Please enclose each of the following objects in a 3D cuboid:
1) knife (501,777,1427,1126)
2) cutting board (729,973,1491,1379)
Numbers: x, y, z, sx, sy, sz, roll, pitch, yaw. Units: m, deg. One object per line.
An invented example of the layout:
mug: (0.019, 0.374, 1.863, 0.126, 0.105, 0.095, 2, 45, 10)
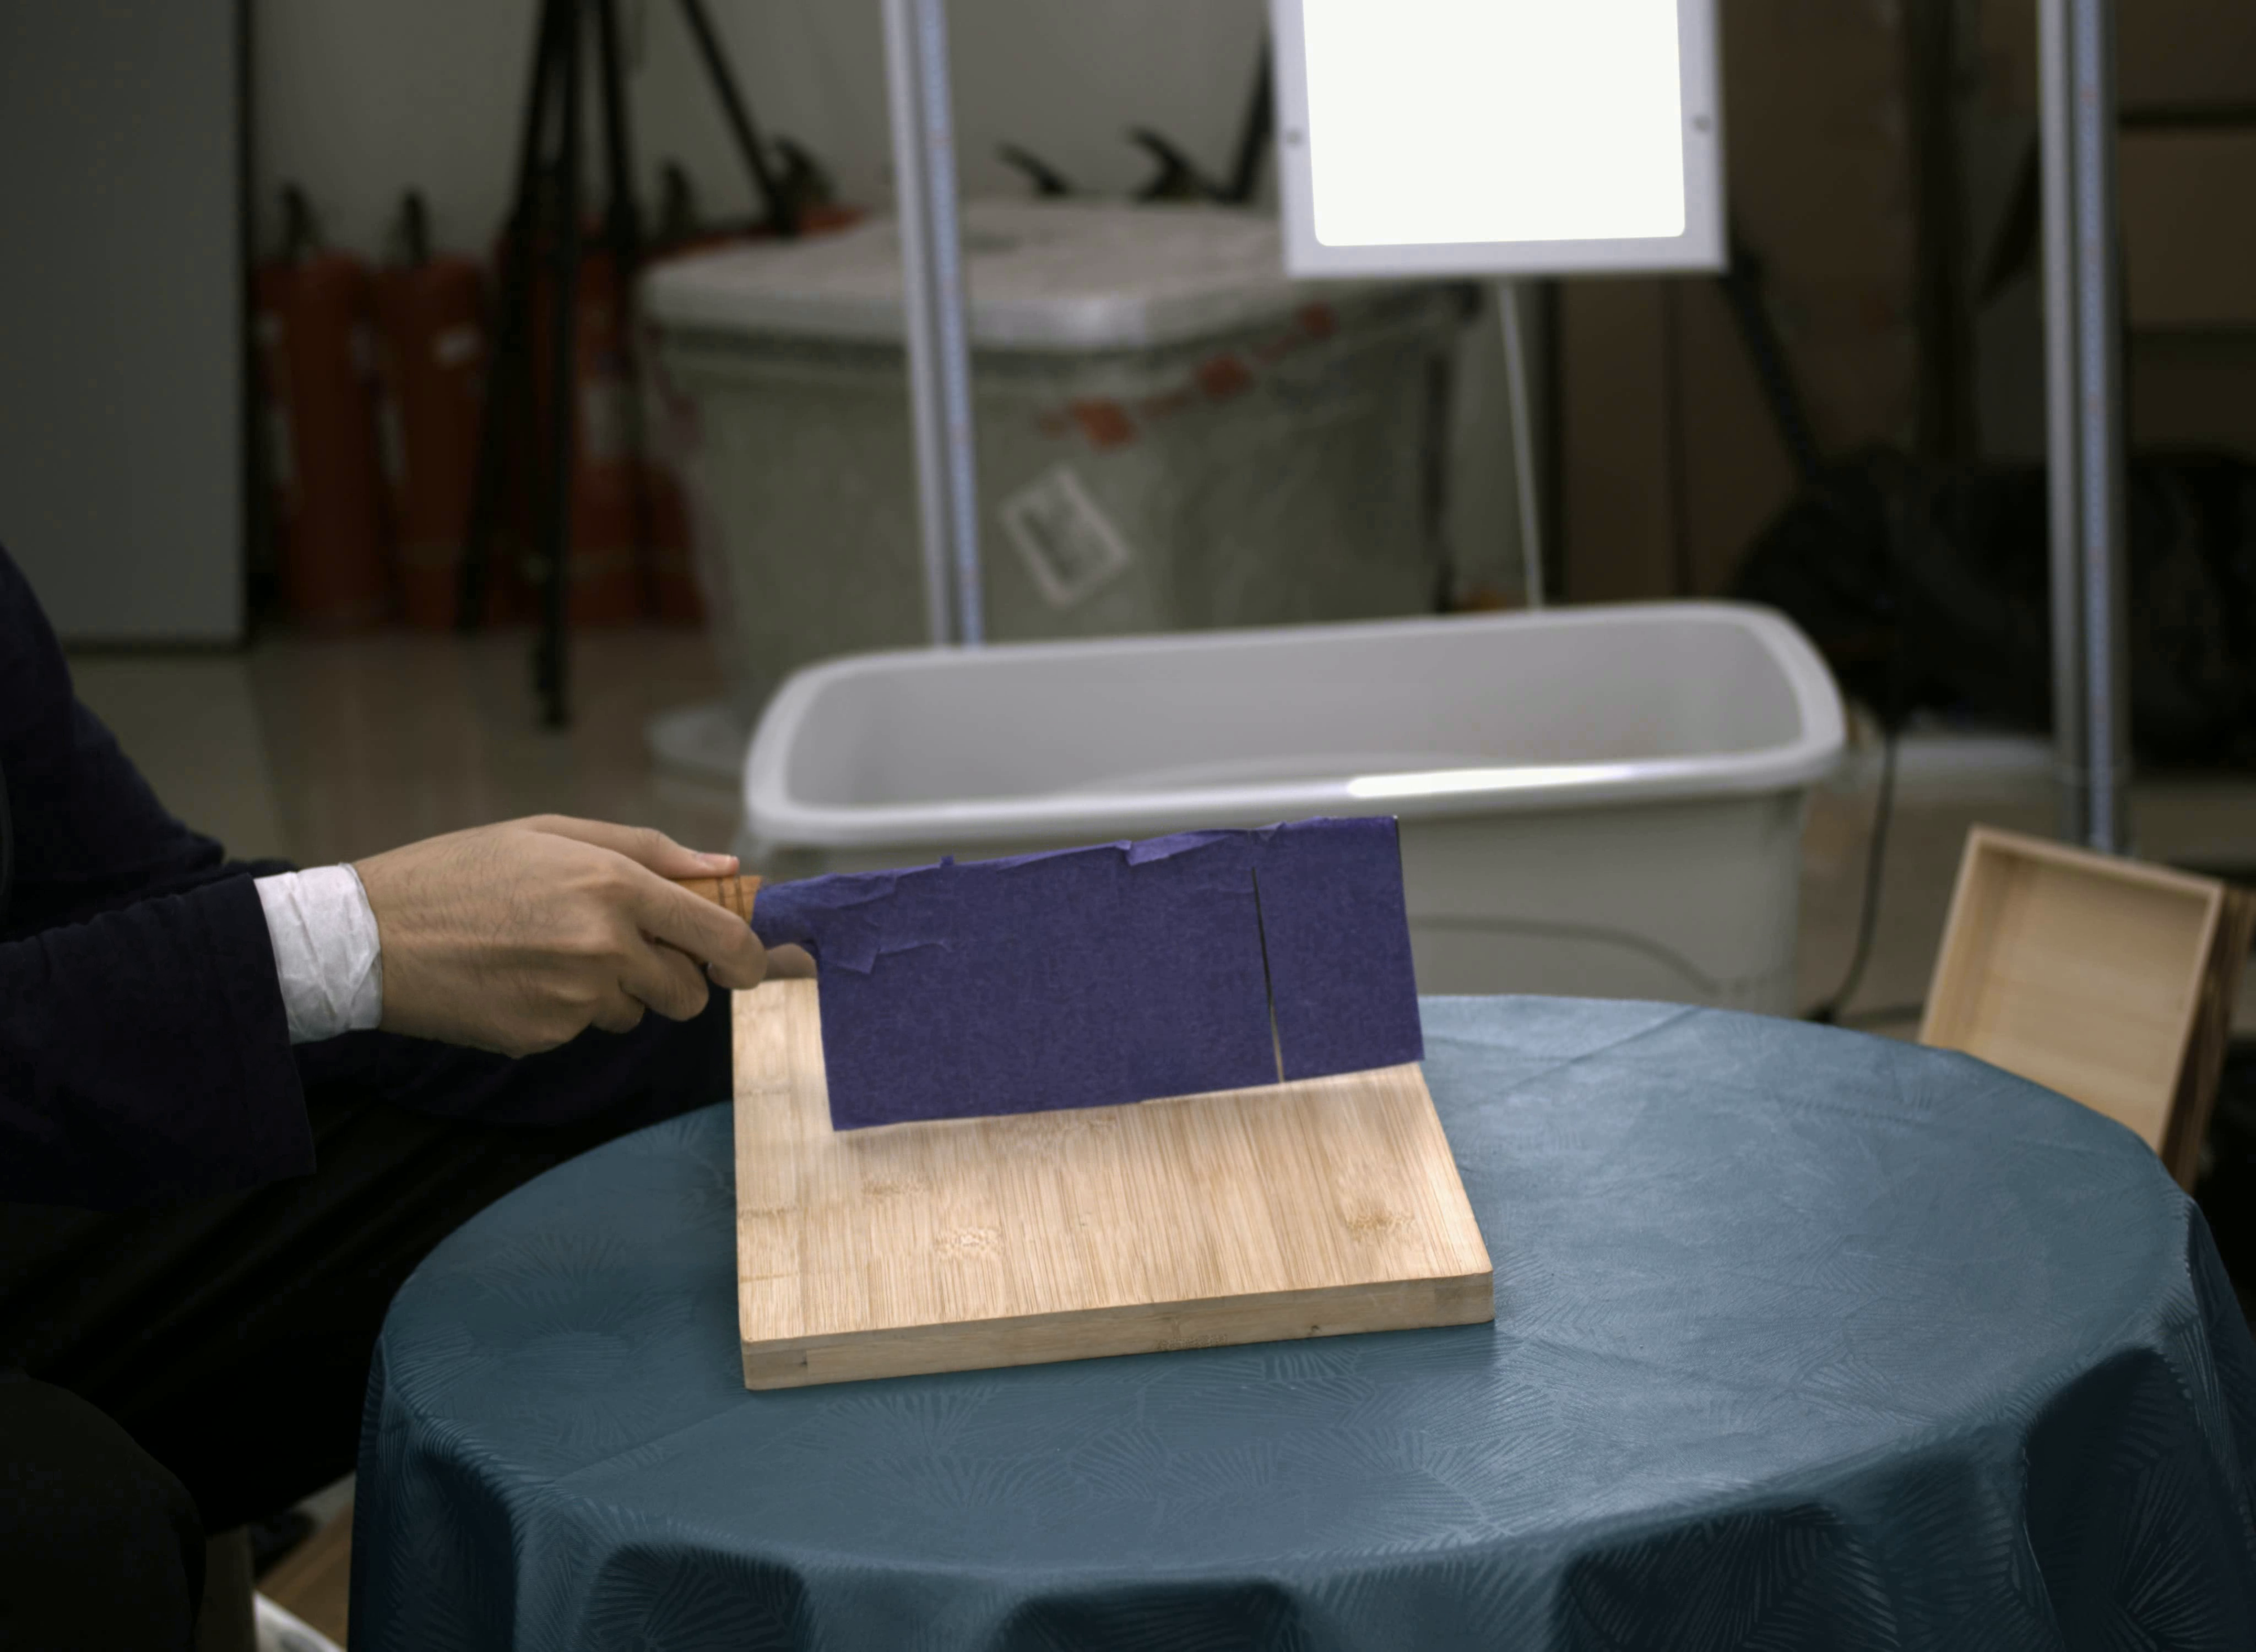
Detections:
knife: (-0.054, 0.053, 1.887, 0.314, 0.104, 0.032, -7, 9, 0)
cutting board: (-0.014, 0.107, 1.900, 0.250, 0.023, 0.348, -6, 18, -2)
